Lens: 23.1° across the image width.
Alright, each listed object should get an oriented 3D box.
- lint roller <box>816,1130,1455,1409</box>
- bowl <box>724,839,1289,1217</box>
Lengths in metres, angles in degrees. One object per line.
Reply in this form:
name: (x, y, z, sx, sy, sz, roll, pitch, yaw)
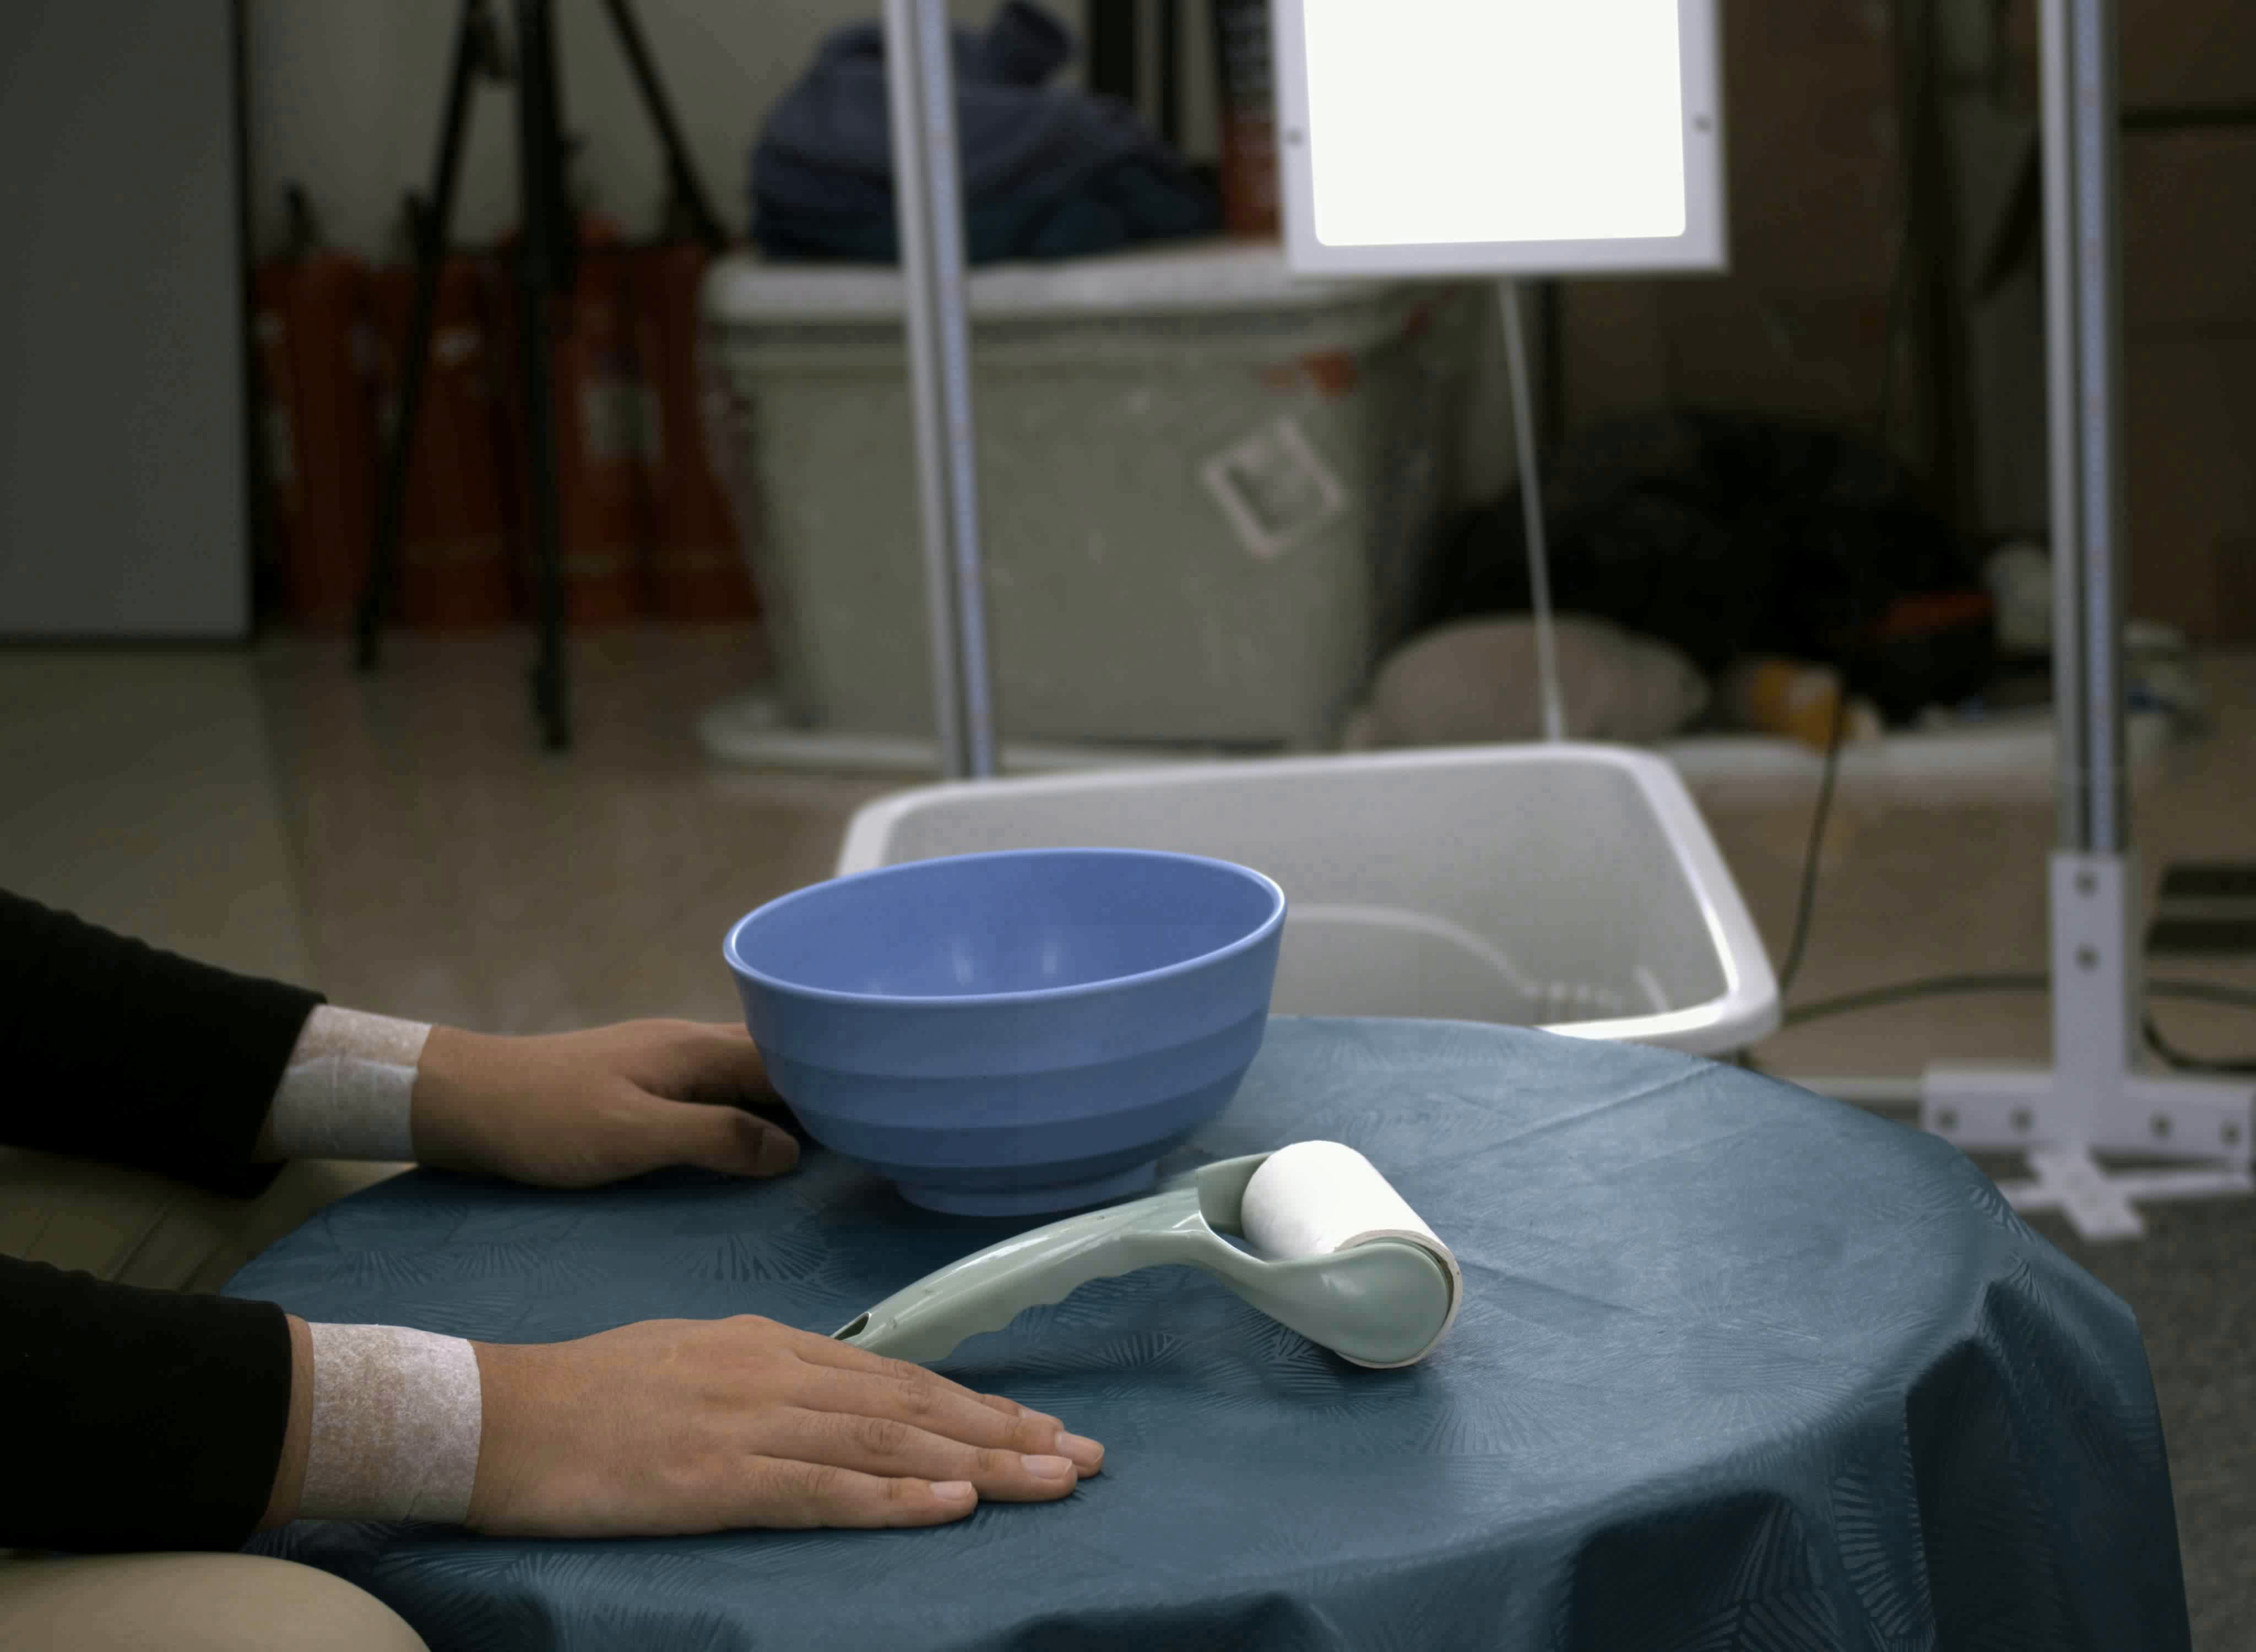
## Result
lint roller: (-0.003, 0.143, 1.739, 0.195, 0.049, 0.117, -8, 15, -8)
bowl: (-0.039, 0.076, 1.915, 0.196, 0.096, 0.196, -5, 15, 0)
